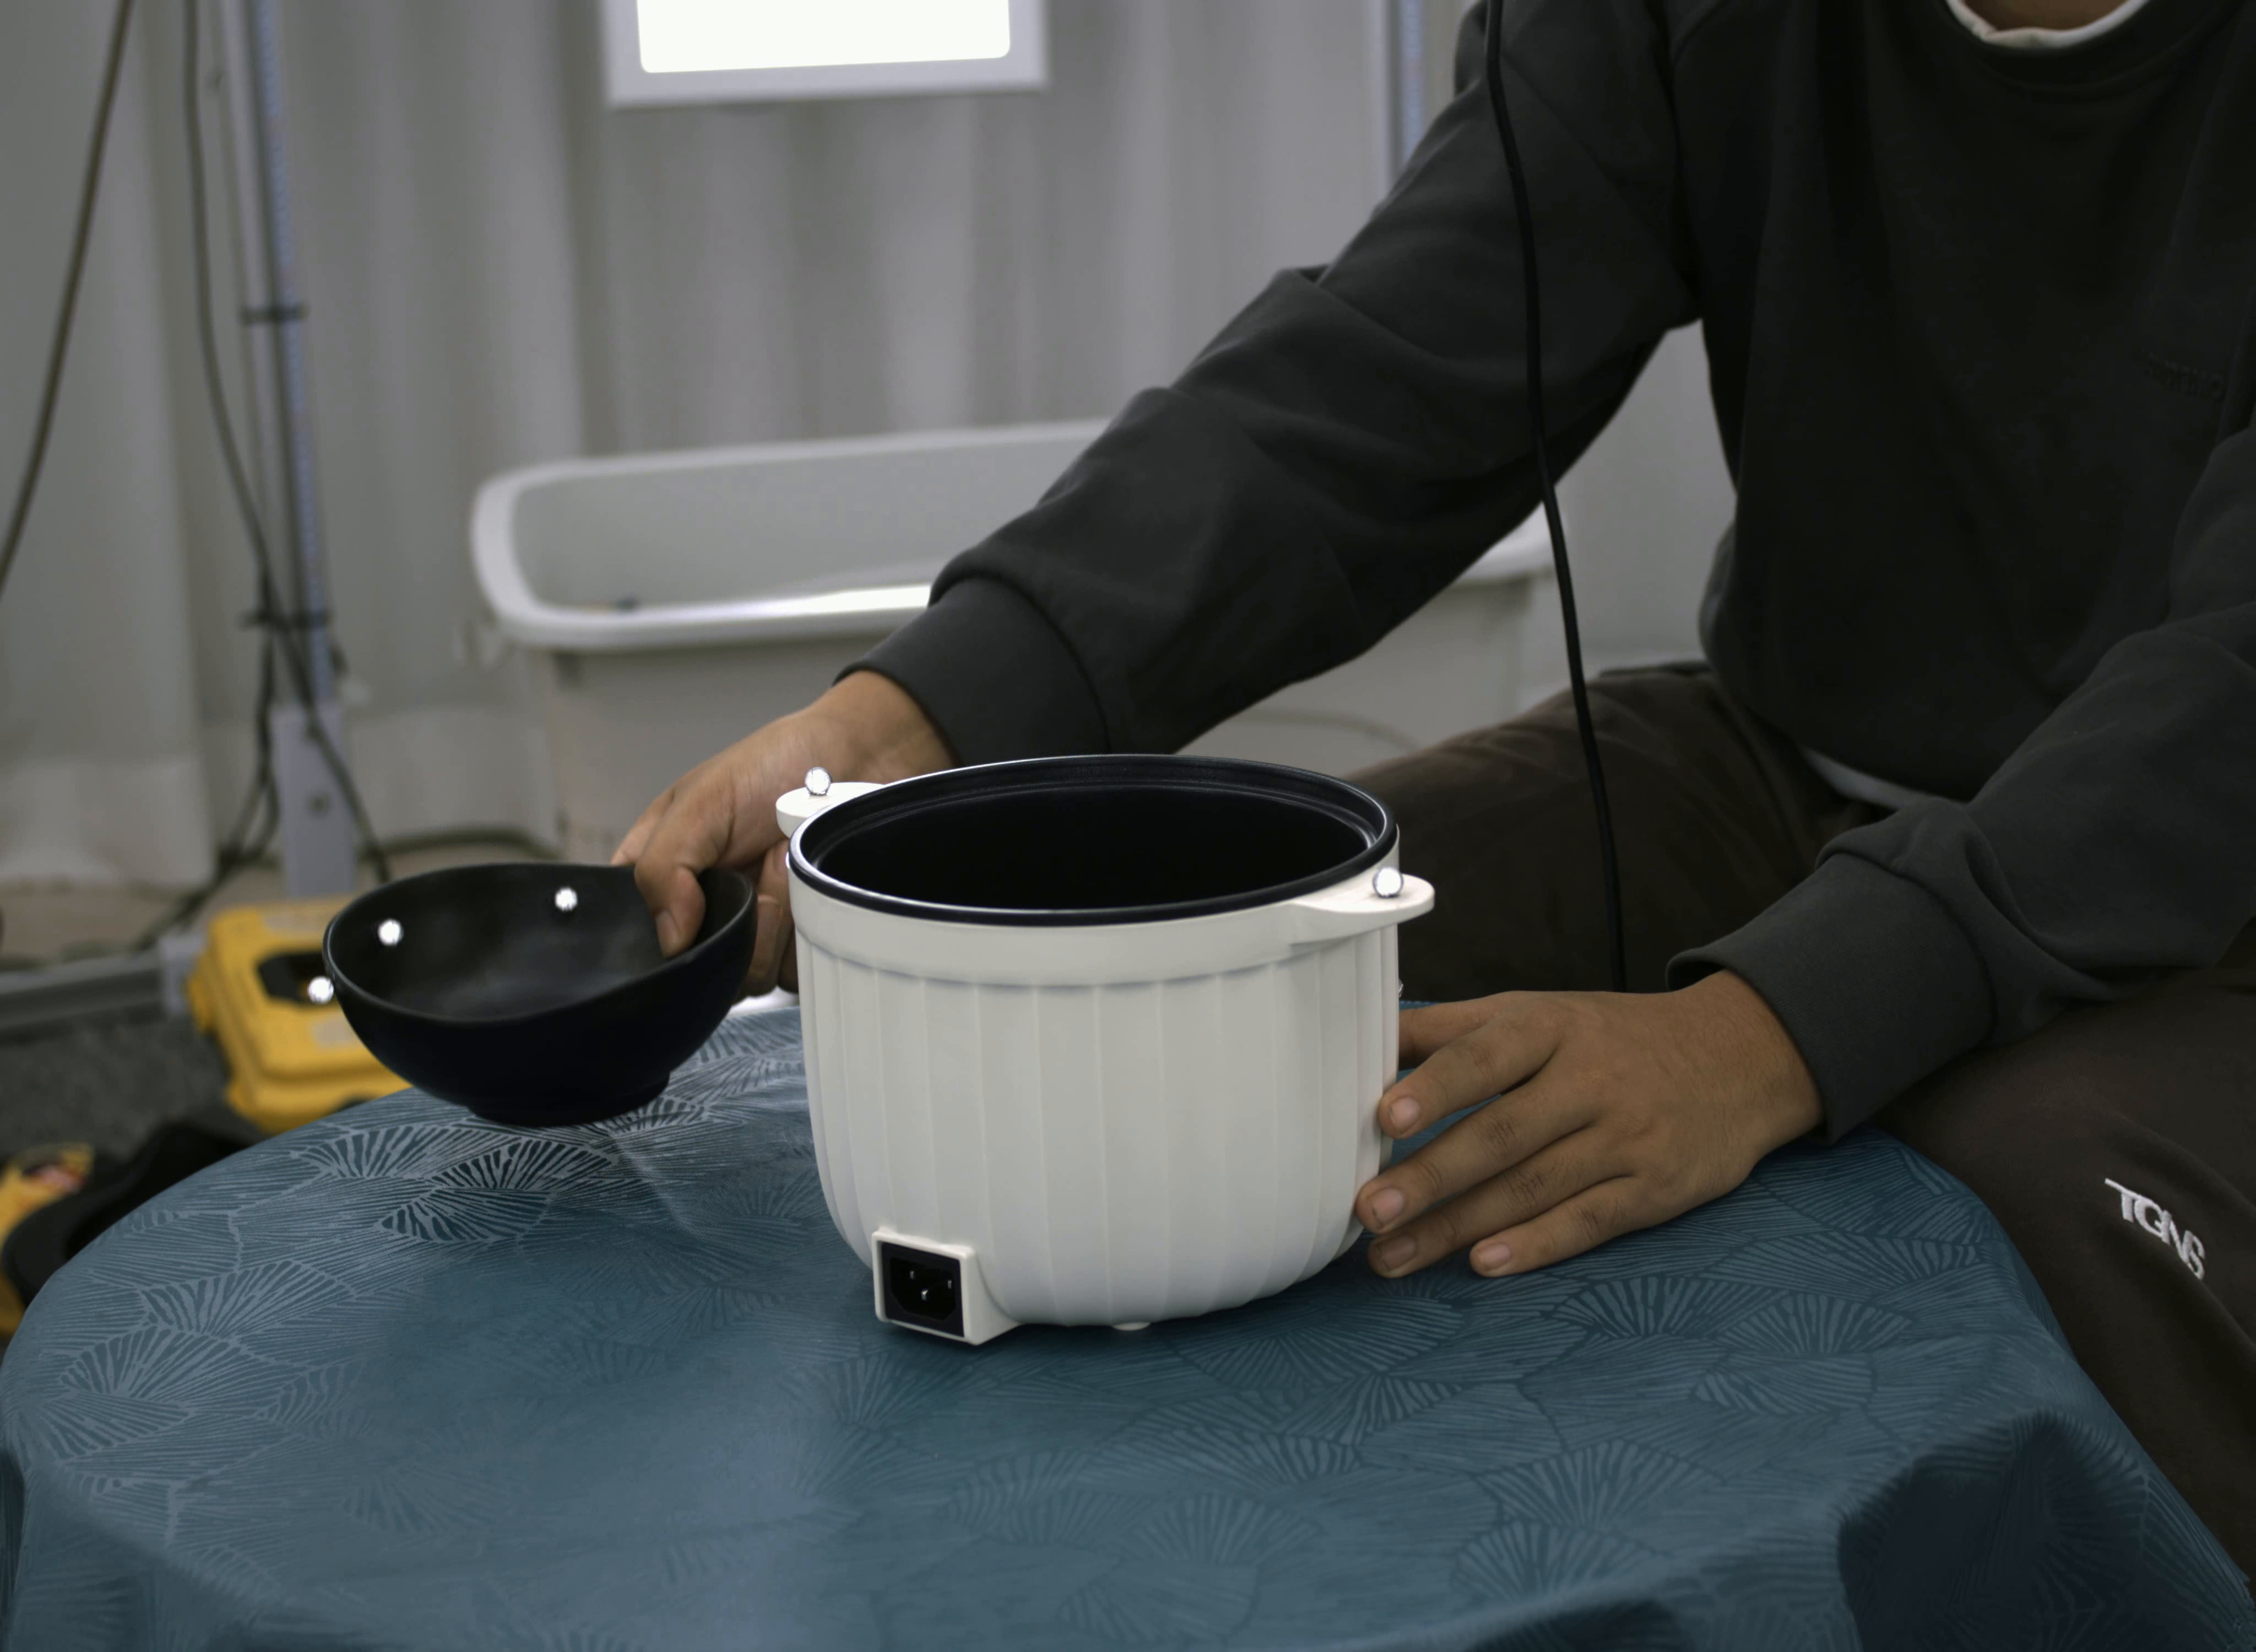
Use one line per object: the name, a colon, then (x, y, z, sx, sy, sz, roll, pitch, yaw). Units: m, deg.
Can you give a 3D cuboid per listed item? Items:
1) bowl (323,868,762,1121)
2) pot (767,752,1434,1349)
bowl: (-0.186, 0.055, 1.776, 0.137, 0.066, 0.171, 1, 17, 15)
pot: (-0.006, 0.064, 1.642, 0.241, 0.142, 0.190, 10, 22, 37)
